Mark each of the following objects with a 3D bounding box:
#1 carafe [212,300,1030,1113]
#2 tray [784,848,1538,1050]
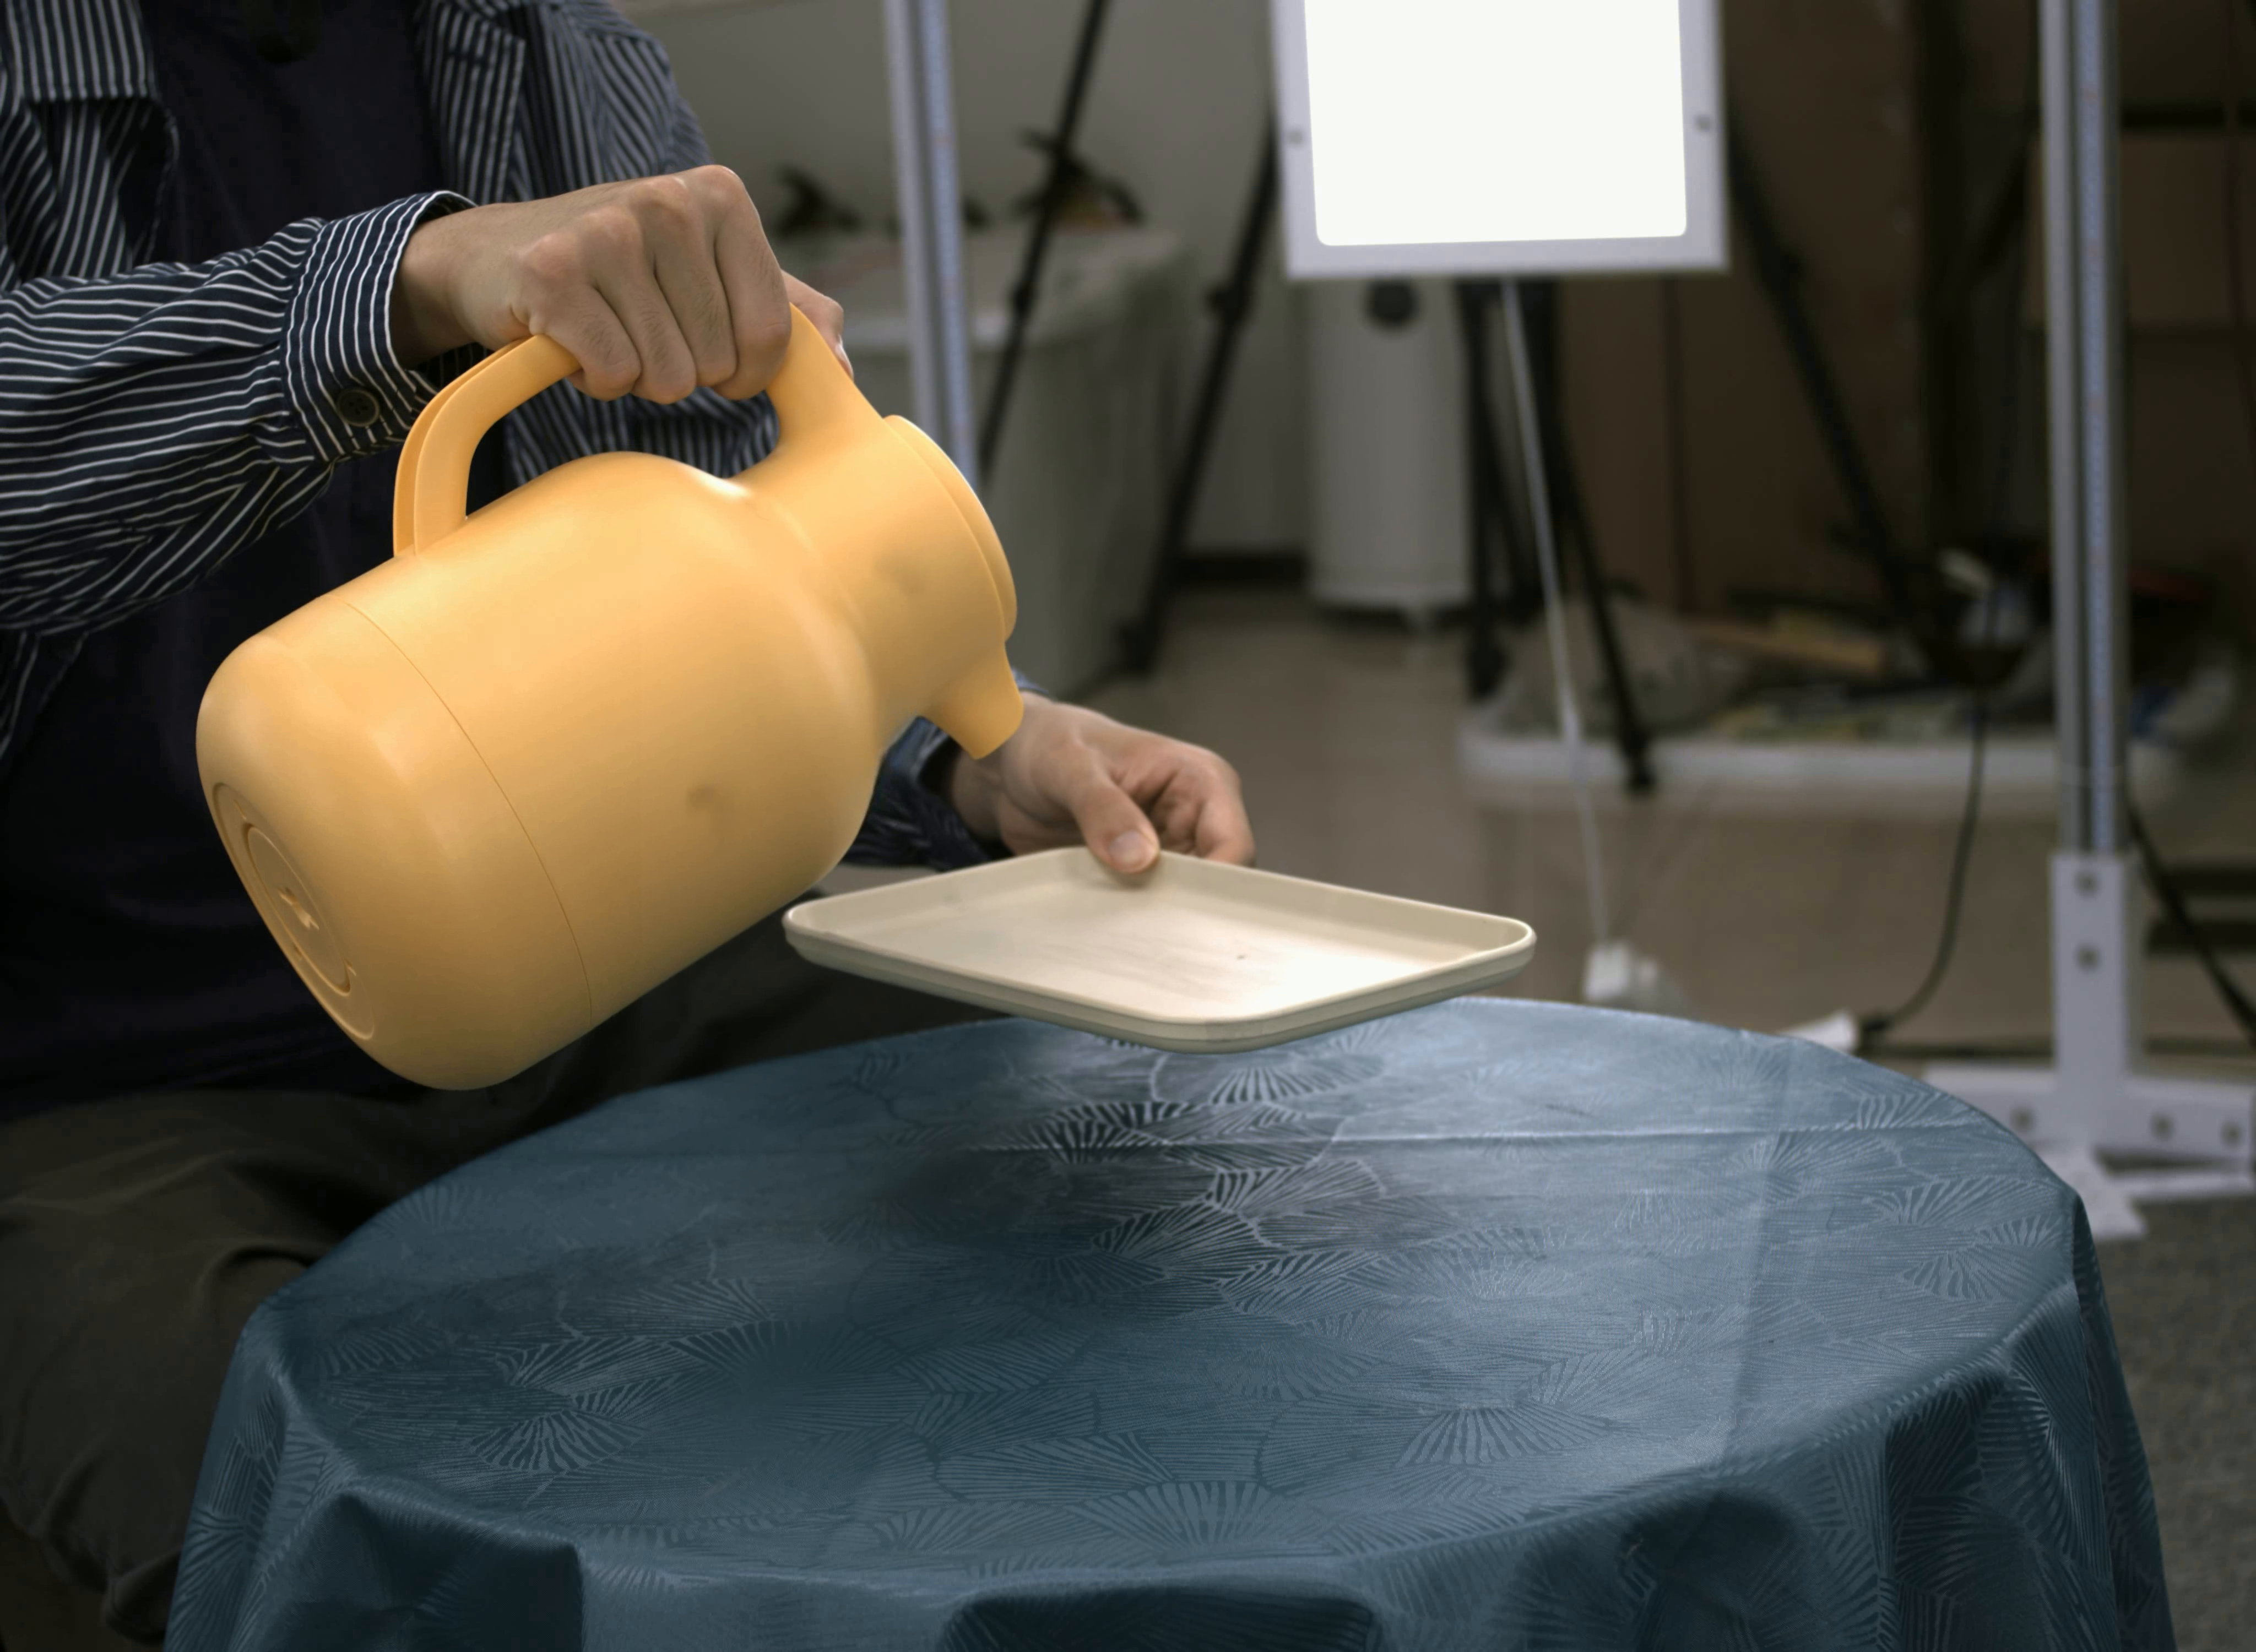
[{"bbox_3d":[-0.166,-0.047,1.788,0.256,0.202,0.166,-32,14,-18],"label":"carafe"},{"bbox_3d":[0.009,0.041,1.881,0.167,0.017,0.245,-12,15,-40],"label":"tray"}]
